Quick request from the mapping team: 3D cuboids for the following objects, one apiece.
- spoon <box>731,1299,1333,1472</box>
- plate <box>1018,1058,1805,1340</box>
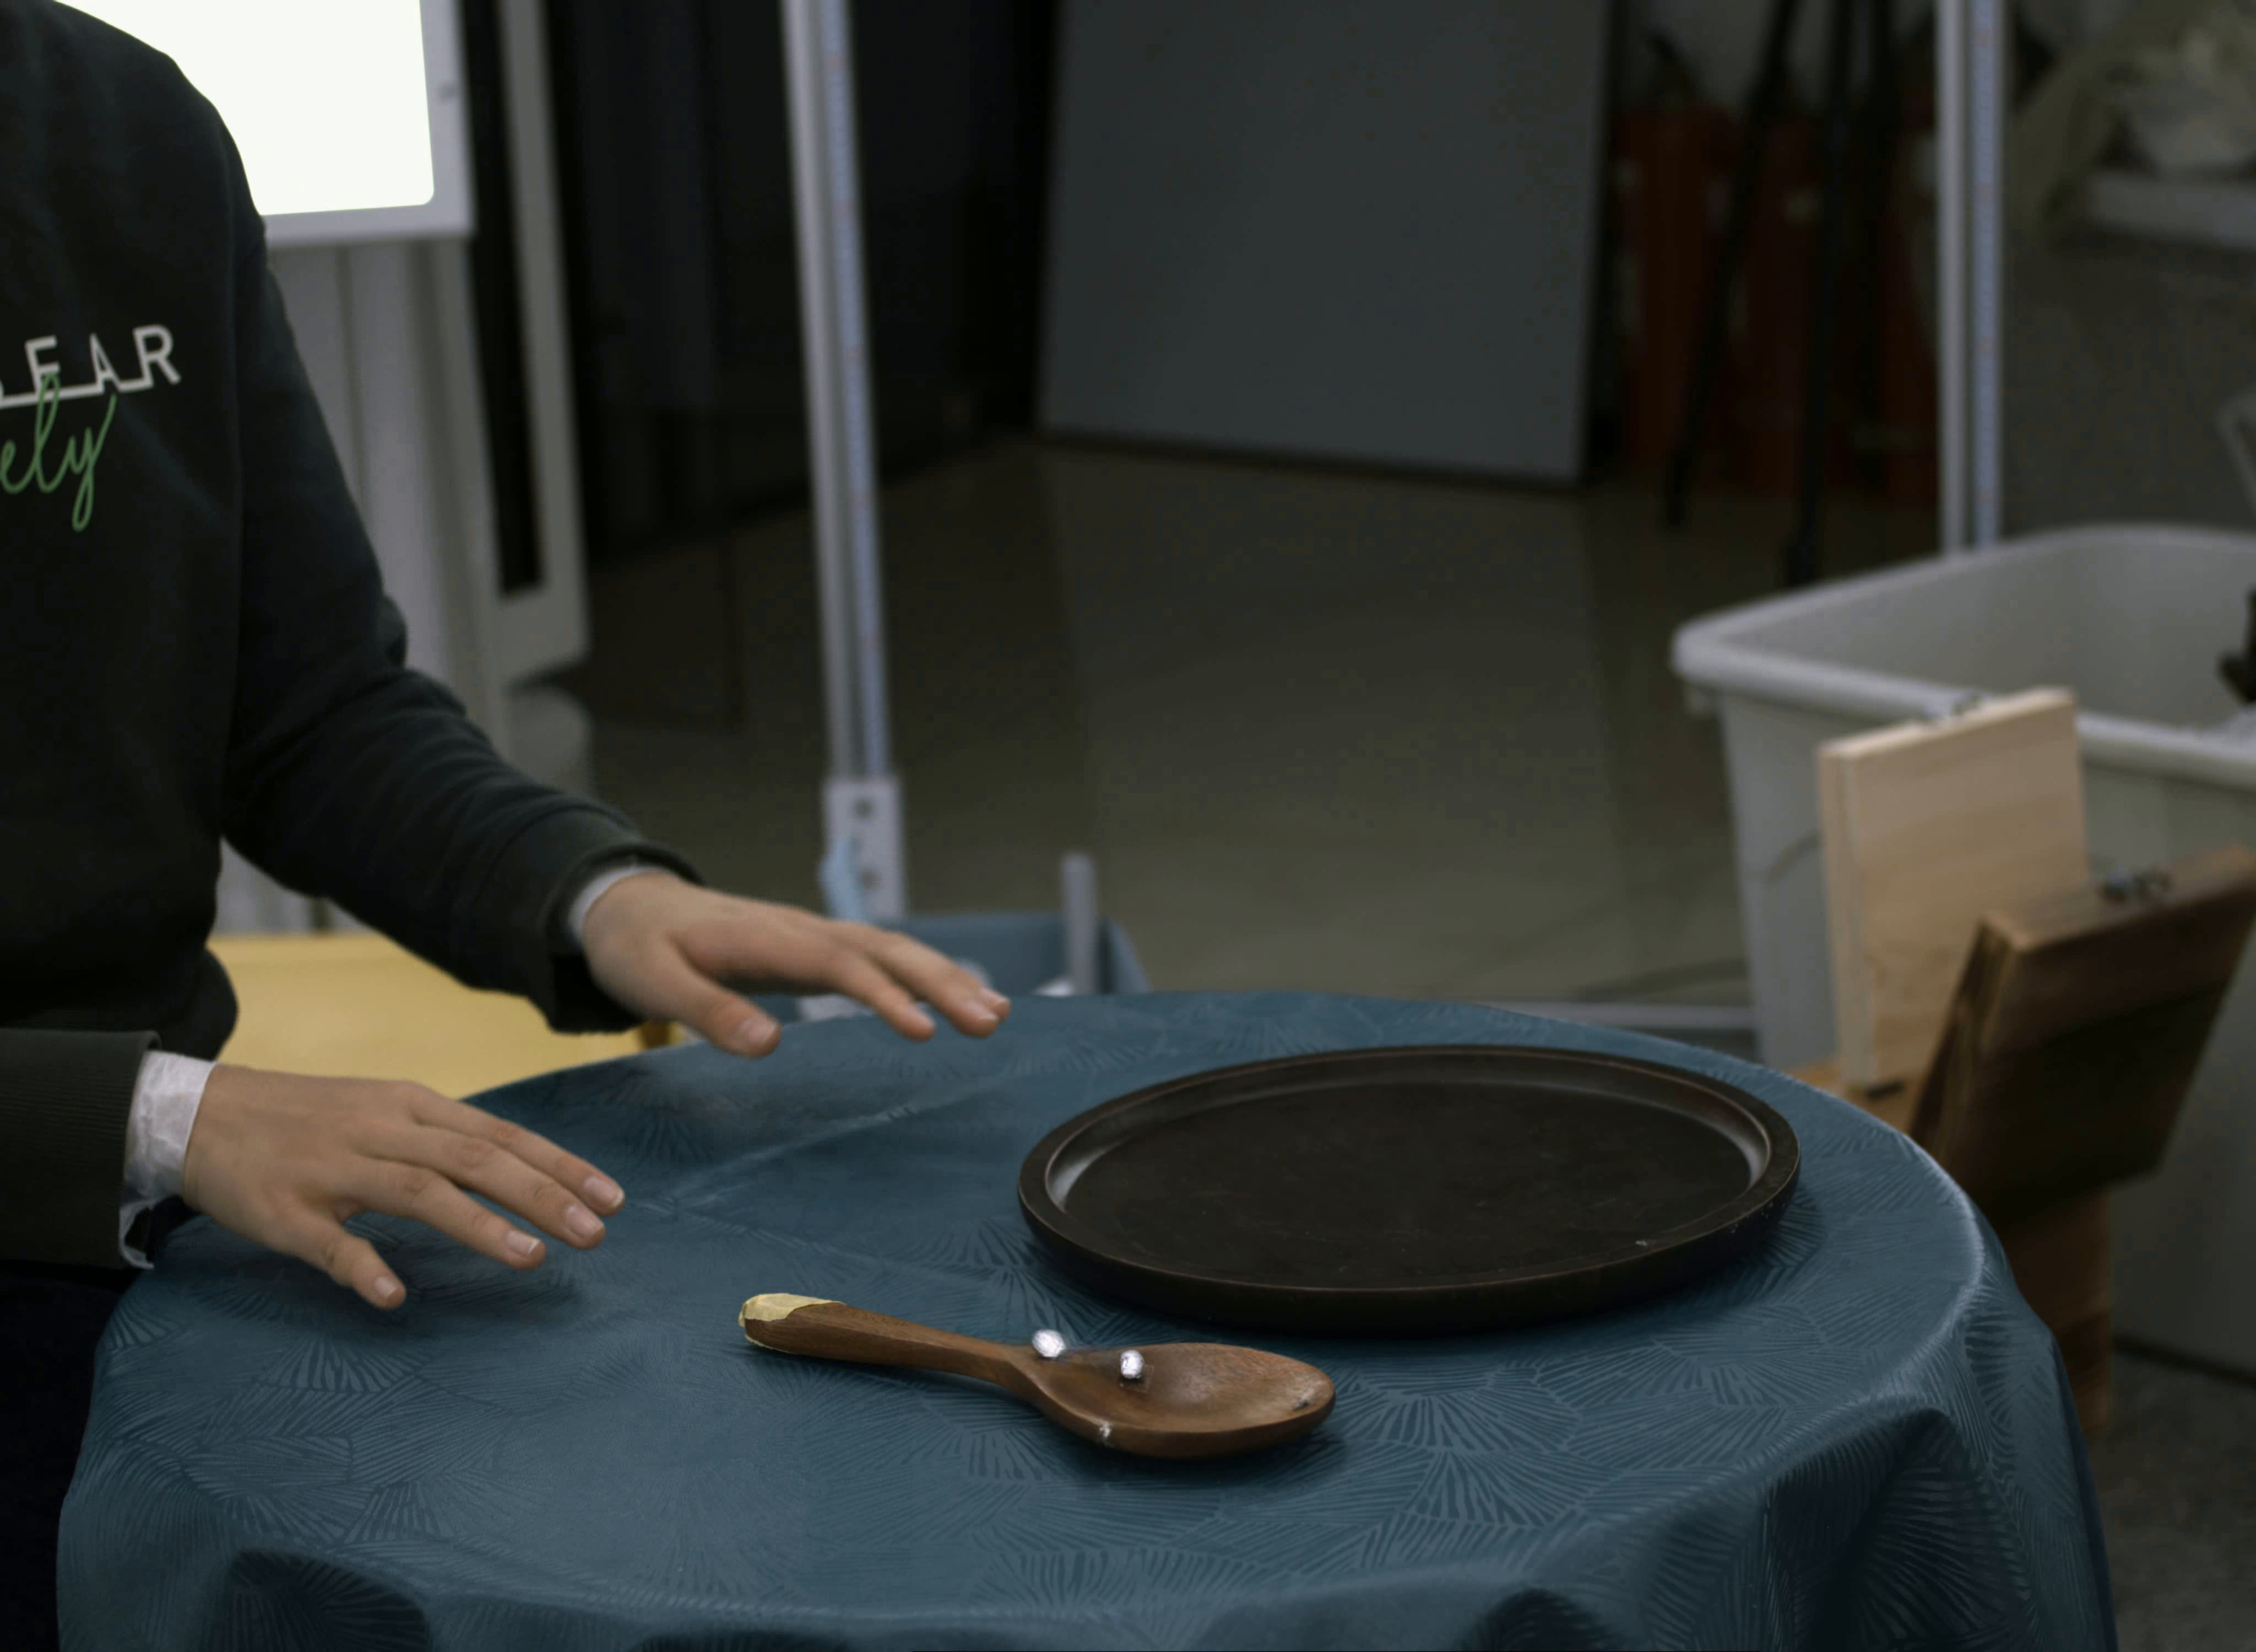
[{"bbox_3d":[-0.033,0.163,1.582,0.217,0.017,0.074,8,18,38],"label":"spoon"},{"bbox_3d":[0.090,0.116,1.719,0.251,0.029,0.255,-3,14,0],"label":"plate"}]
